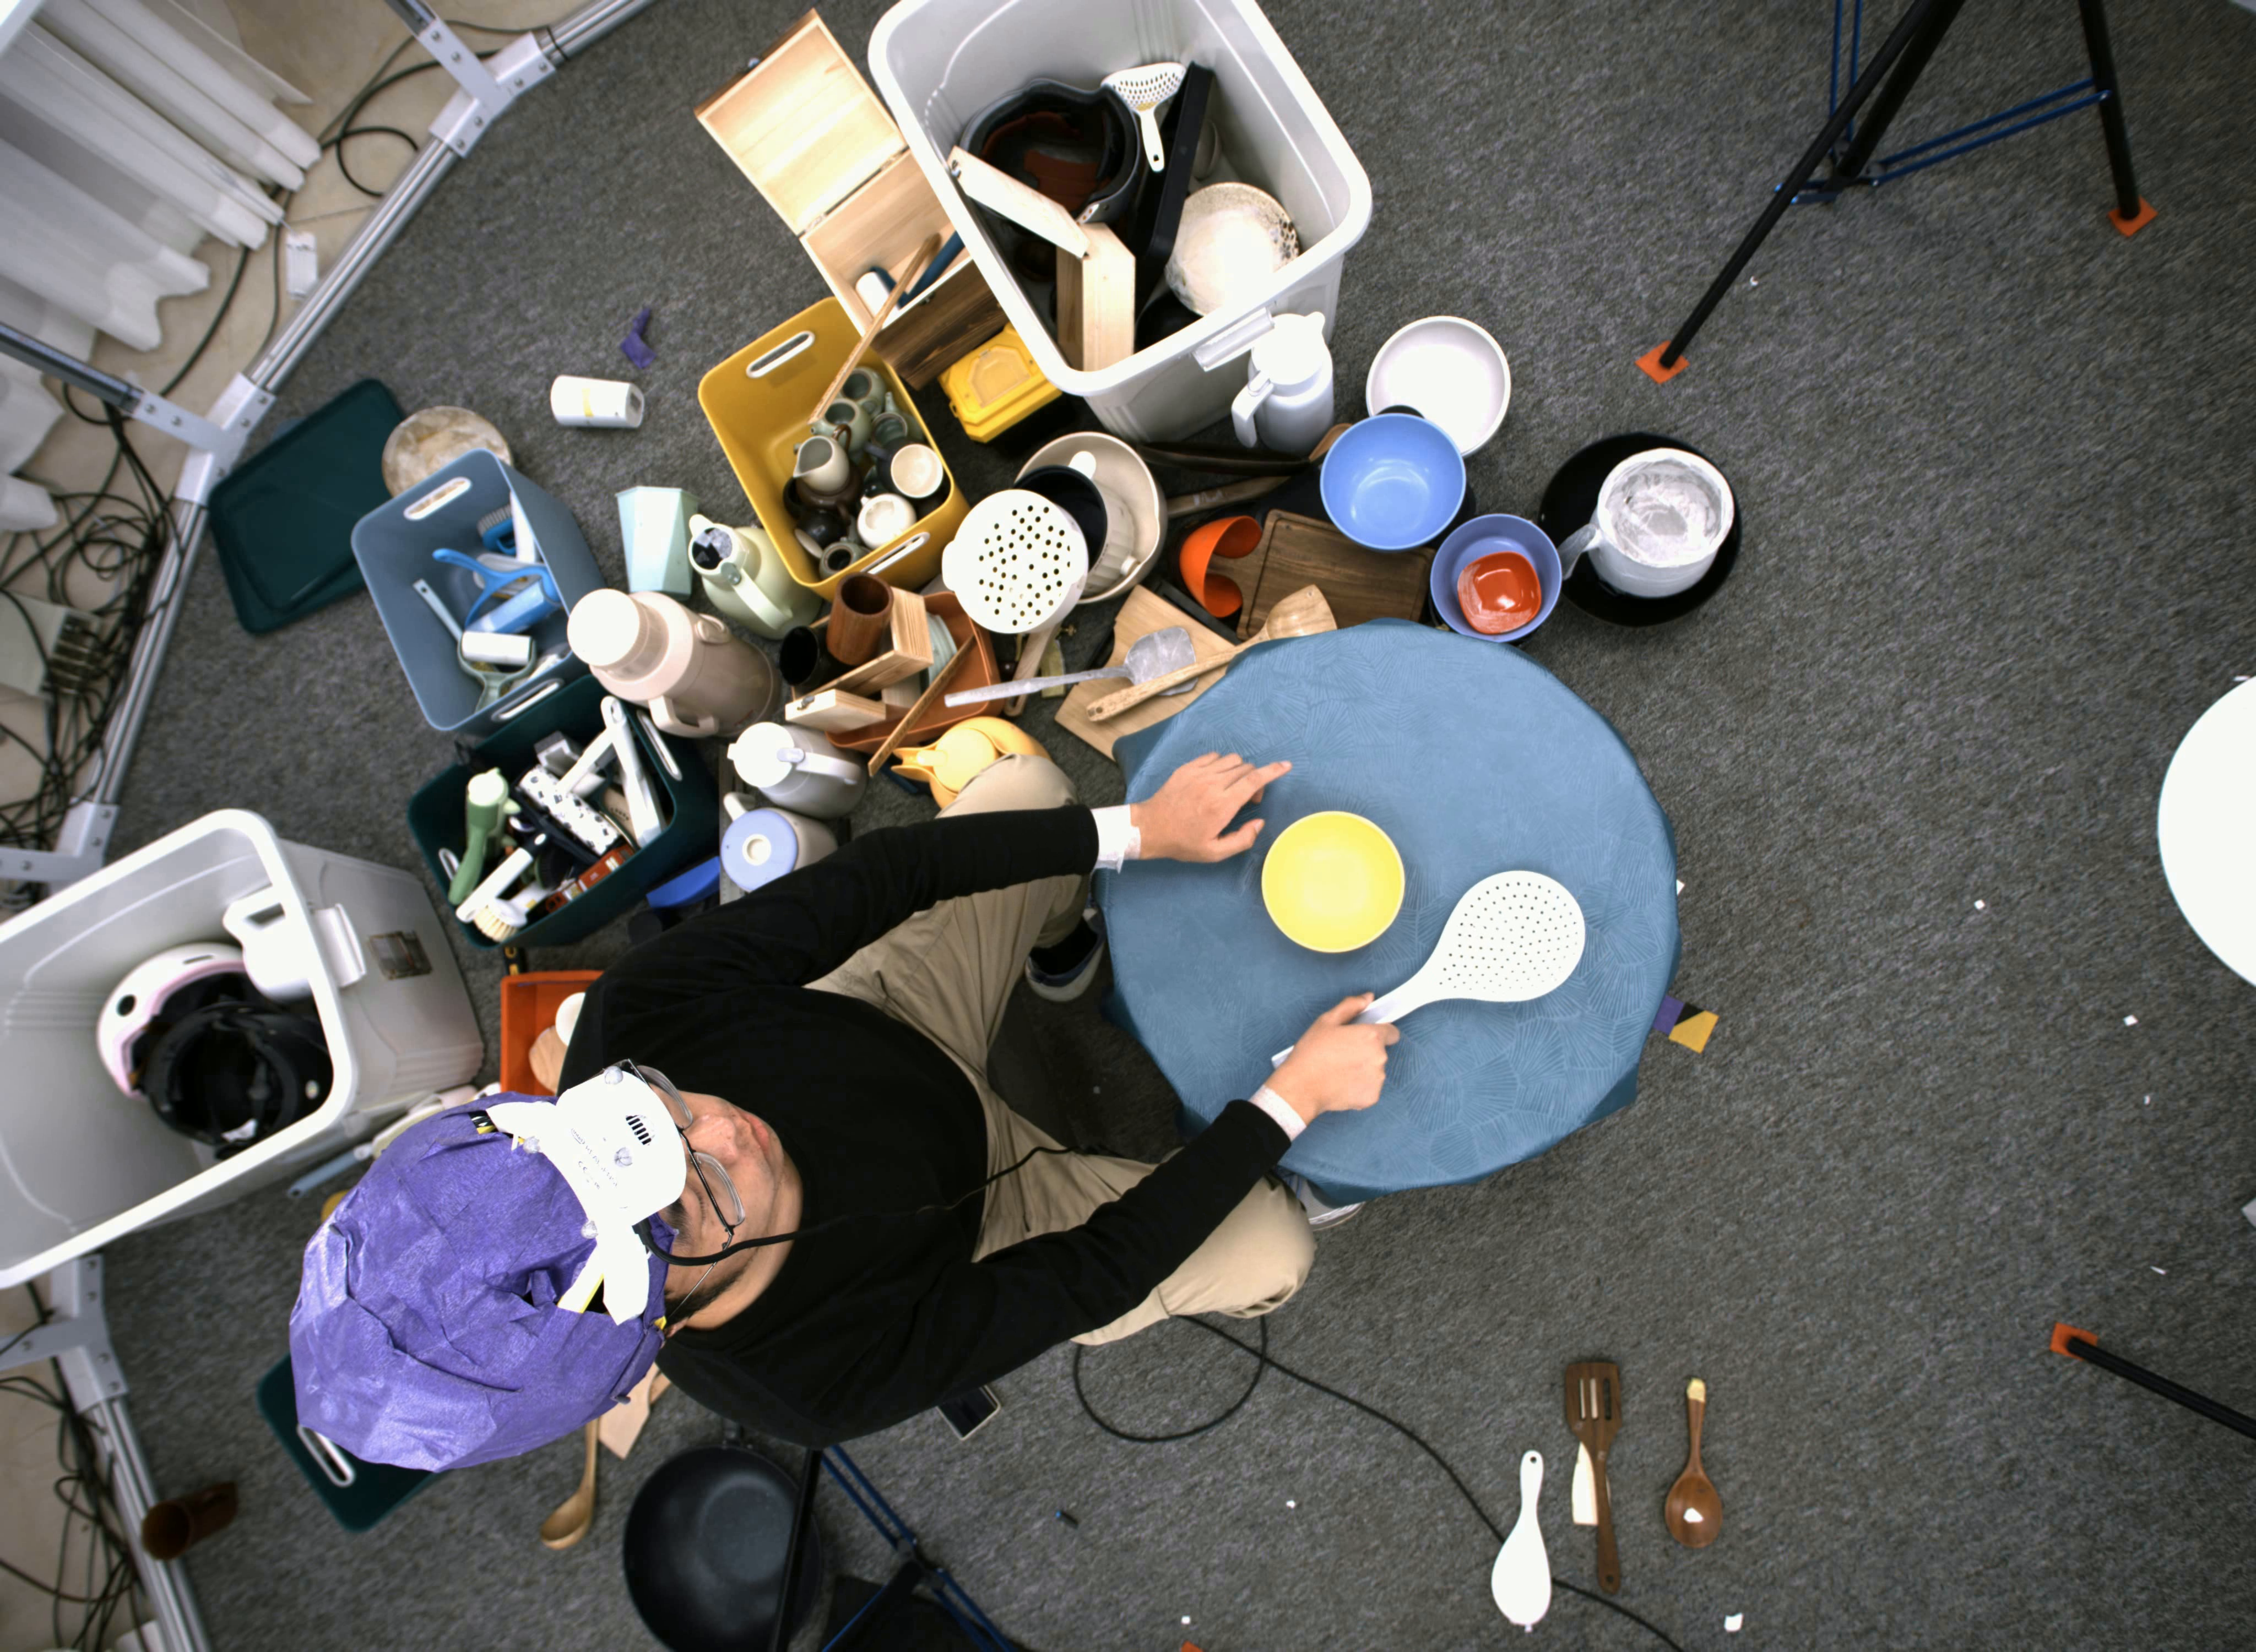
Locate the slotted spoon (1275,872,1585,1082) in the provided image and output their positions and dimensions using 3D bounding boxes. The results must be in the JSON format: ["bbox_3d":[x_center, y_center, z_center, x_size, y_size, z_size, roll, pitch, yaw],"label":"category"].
[{"bbox_3d":[0.305,0.167,1.419,0.352,0.046,0.133,-30,57,8],"label":"slotted spoon"}]

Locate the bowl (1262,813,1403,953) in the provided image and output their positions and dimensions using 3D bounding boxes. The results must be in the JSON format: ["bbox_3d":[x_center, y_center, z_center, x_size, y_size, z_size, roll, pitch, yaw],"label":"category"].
[{"bbox_3d":[0.212,0.061,1.443,0.146,0.060,0.144,-1,84,9],"label":"bowl"}]
